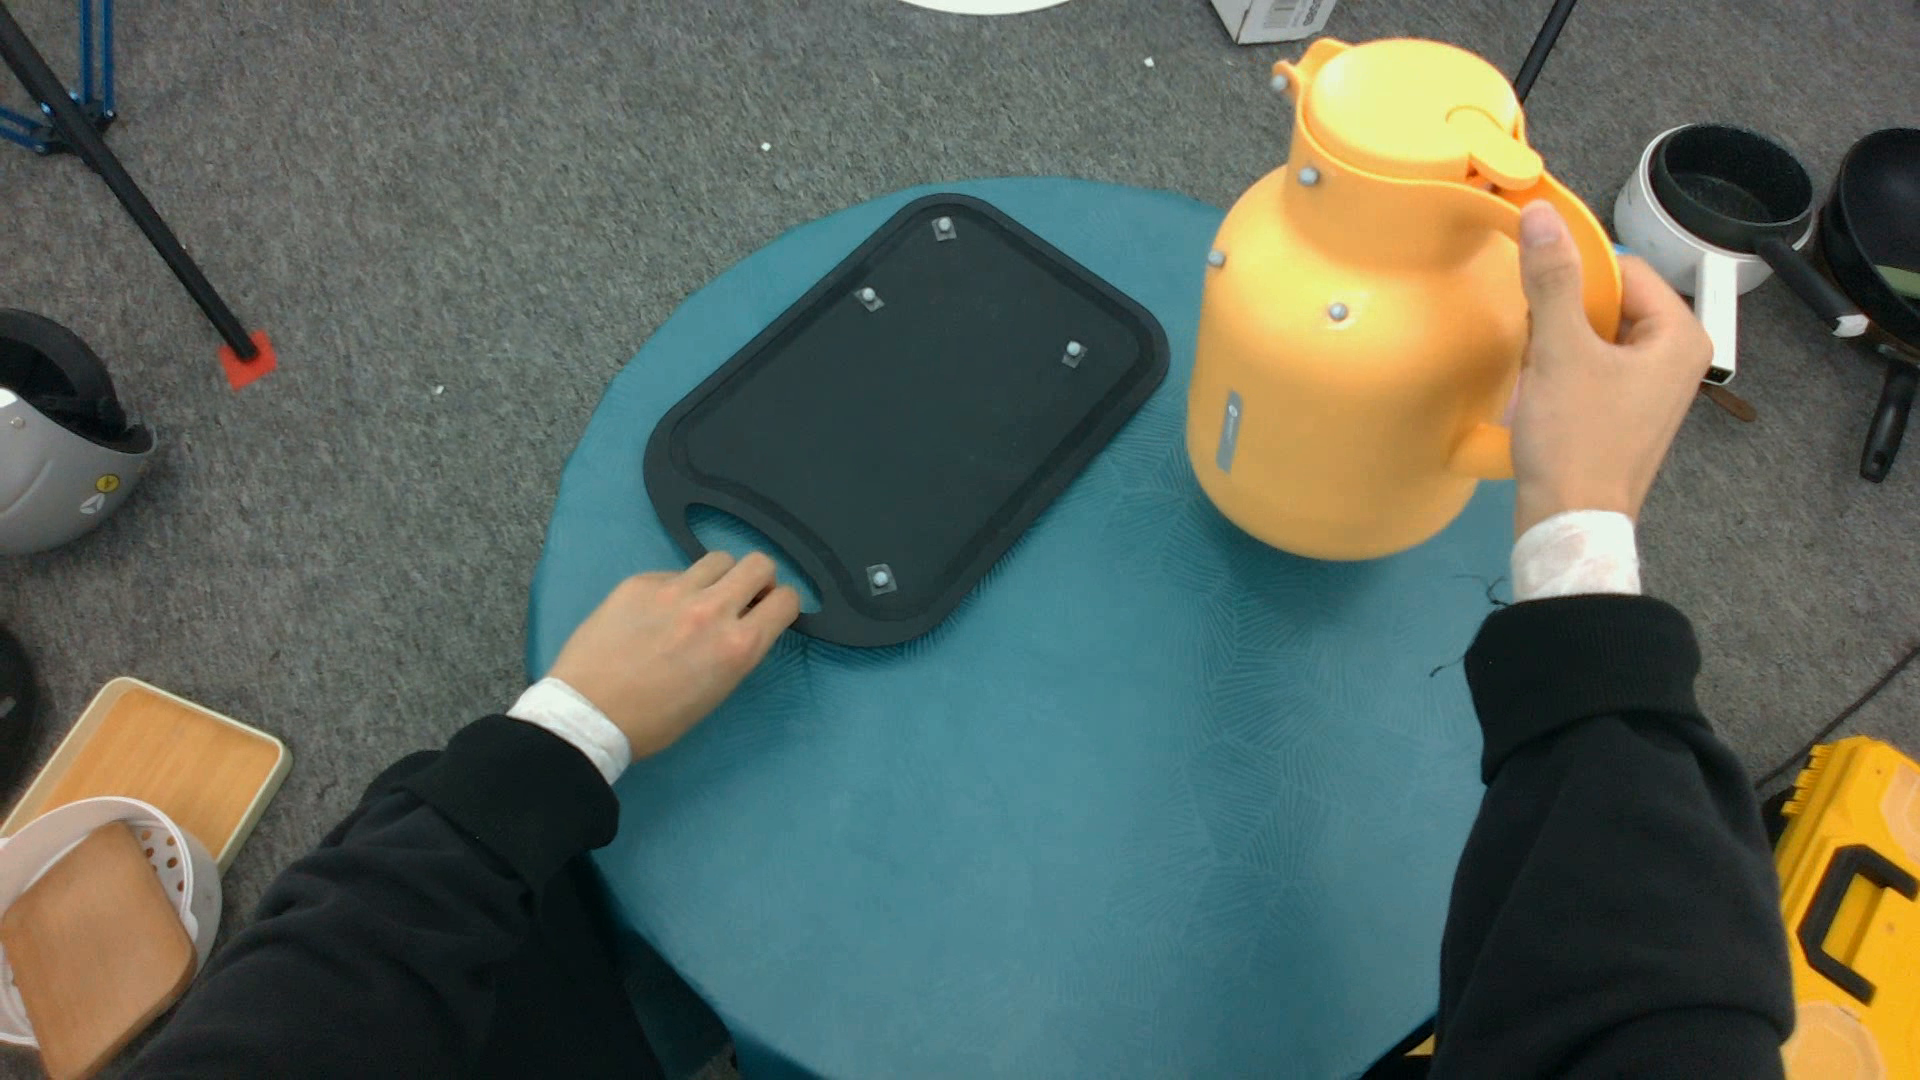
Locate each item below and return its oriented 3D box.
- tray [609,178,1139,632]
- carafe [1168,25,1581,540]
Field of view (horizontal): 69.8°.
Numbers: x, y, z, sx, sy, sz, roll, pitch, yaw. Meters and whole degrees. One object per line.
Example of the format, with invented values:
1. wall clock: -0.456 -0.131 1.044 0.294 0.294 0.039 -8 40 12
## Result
1. tray: -0.048 -0.090 0.826 0.211 0.010 0.327 37 63 13
2. carafe: 0.202 -0.114 0.692 0.164 0.259 0.203 -30 57 -15
